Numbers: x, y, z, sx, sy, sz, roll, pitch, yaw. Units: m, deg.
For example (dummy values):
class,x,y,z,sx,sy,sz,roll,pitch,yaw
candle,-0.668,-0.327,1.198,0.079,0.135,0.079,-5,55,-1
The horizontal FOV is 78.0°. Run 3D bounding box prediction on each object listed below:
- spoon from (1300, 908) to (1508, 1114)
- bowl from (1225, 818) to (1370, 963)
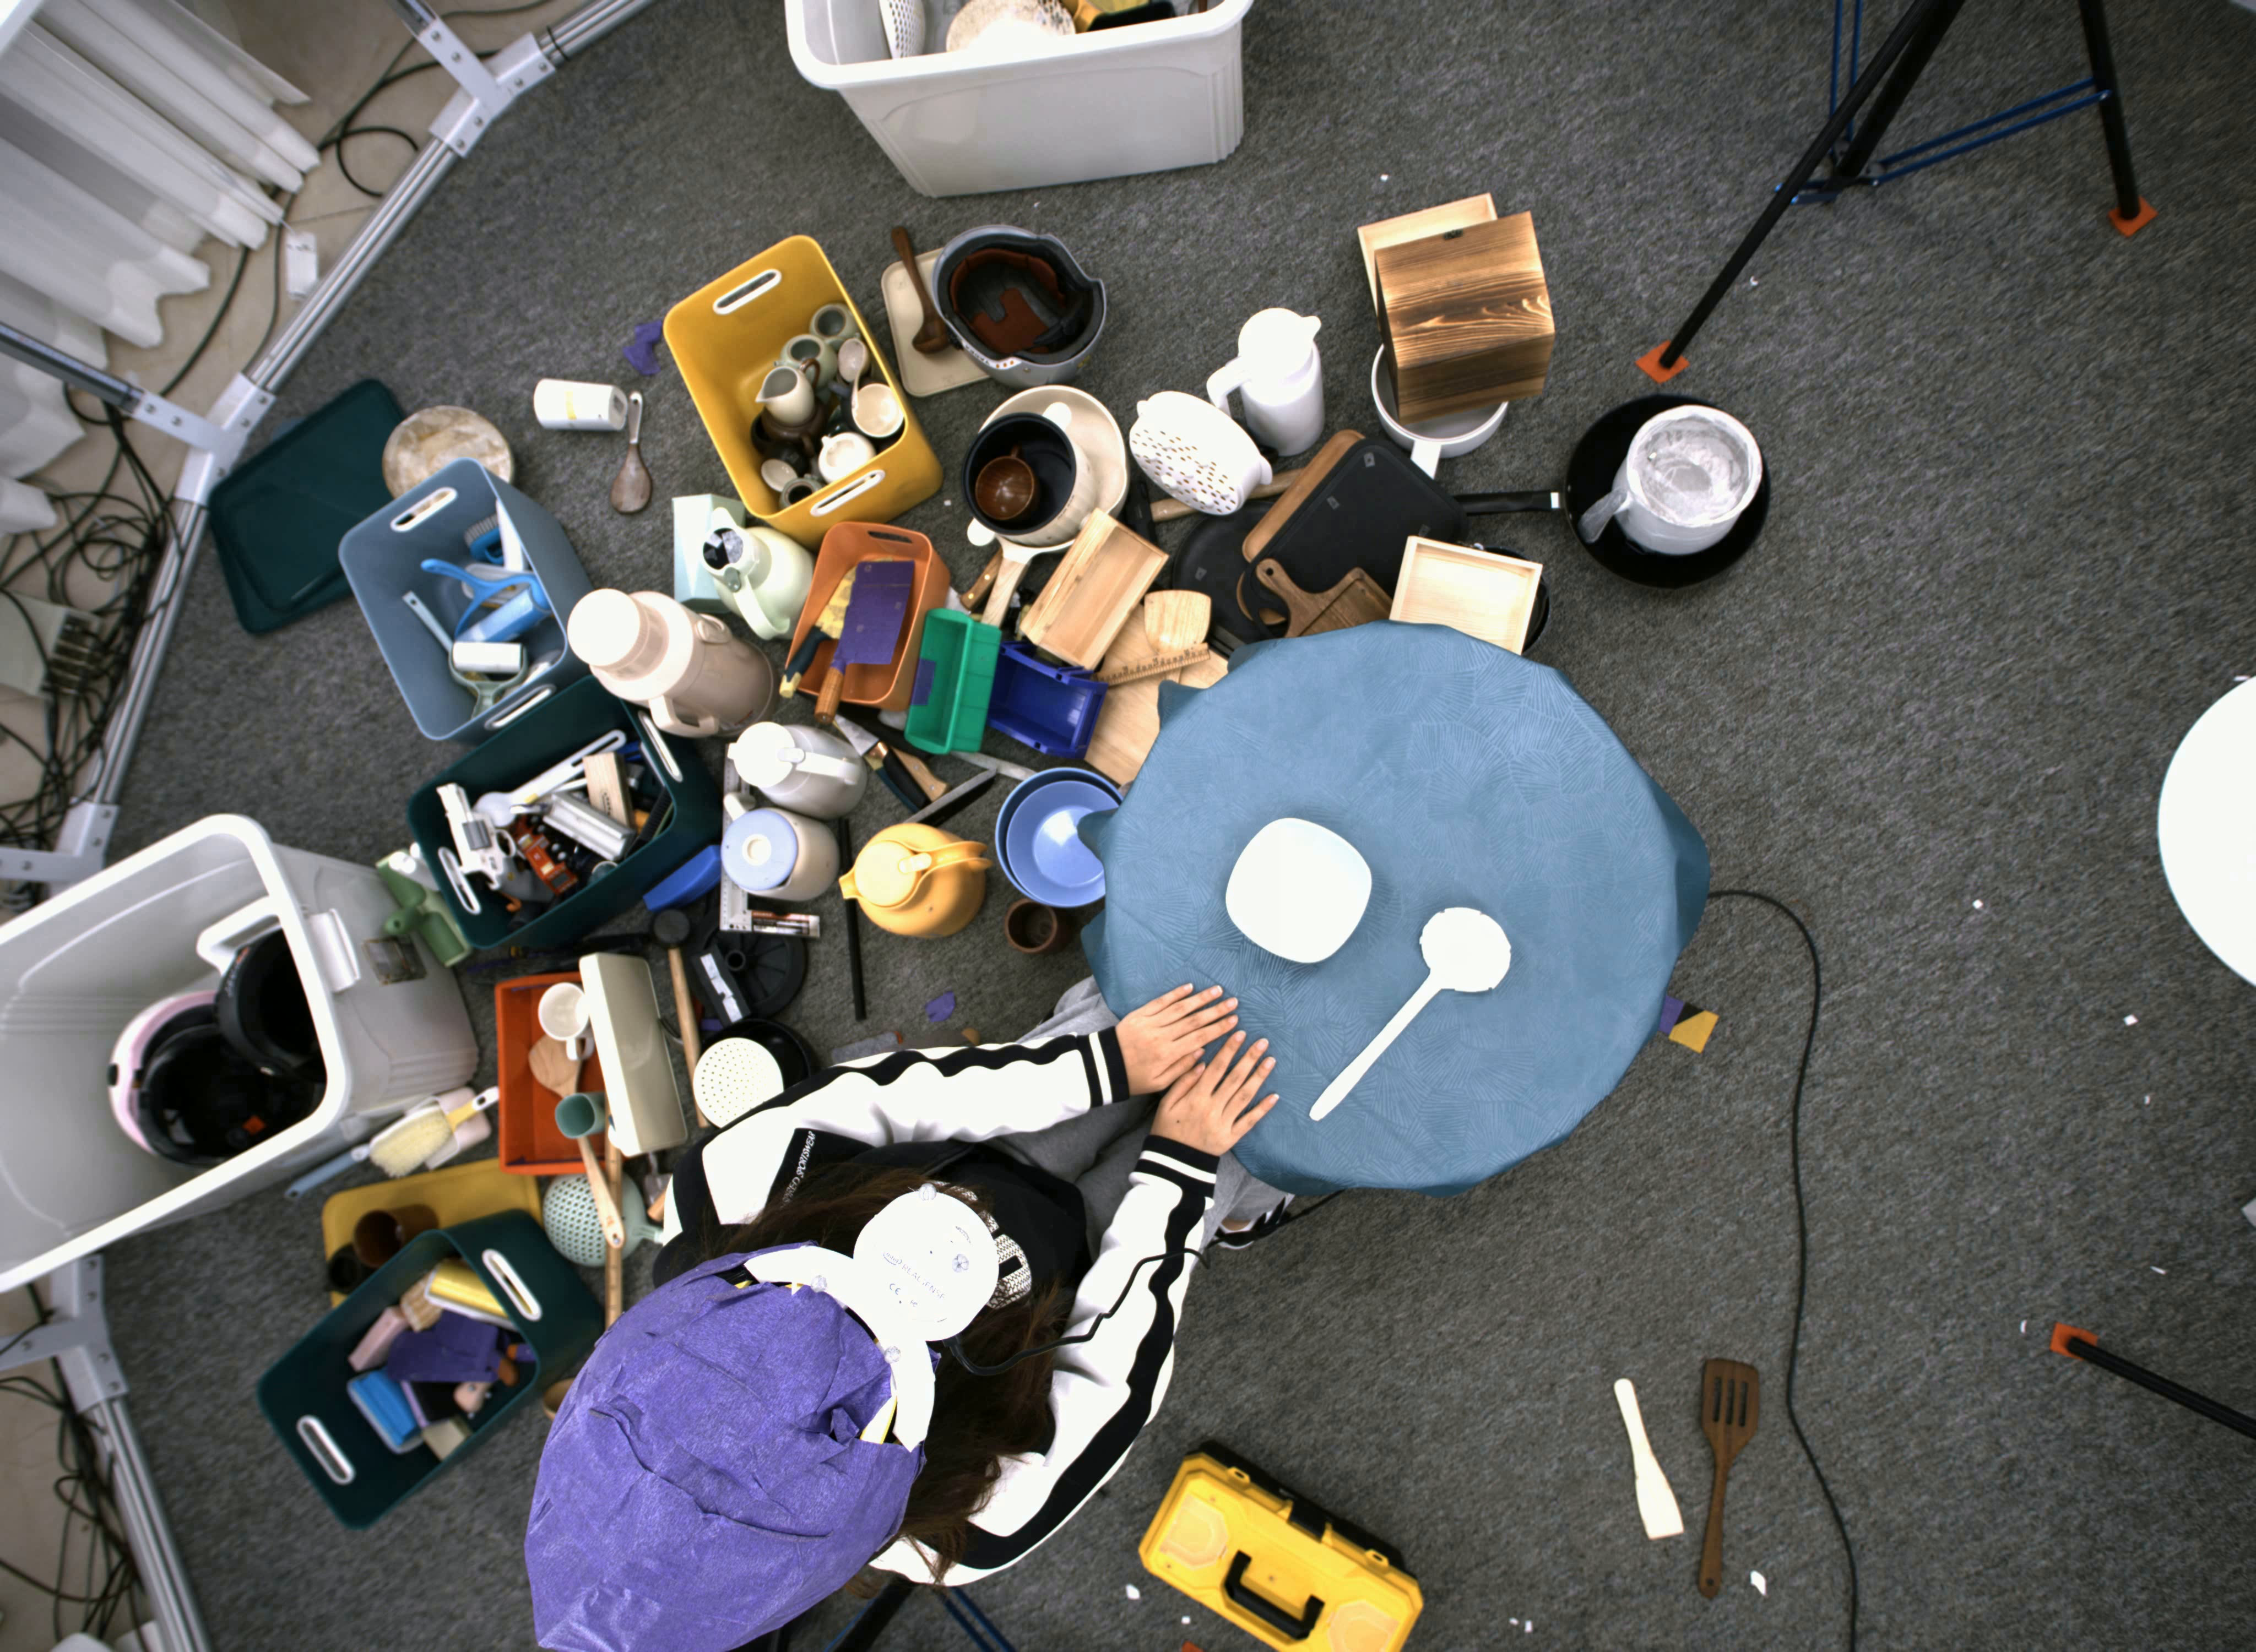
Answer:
class,x,y,z,sx,sy,sz,roll,pitch,yaw
spoon,0.272,0.194,1.424,0.278,0.059,0.100,-45,75,5
bowl,0.178,0.068,1.450,0.152,0.058,0.151,-1,86,10
